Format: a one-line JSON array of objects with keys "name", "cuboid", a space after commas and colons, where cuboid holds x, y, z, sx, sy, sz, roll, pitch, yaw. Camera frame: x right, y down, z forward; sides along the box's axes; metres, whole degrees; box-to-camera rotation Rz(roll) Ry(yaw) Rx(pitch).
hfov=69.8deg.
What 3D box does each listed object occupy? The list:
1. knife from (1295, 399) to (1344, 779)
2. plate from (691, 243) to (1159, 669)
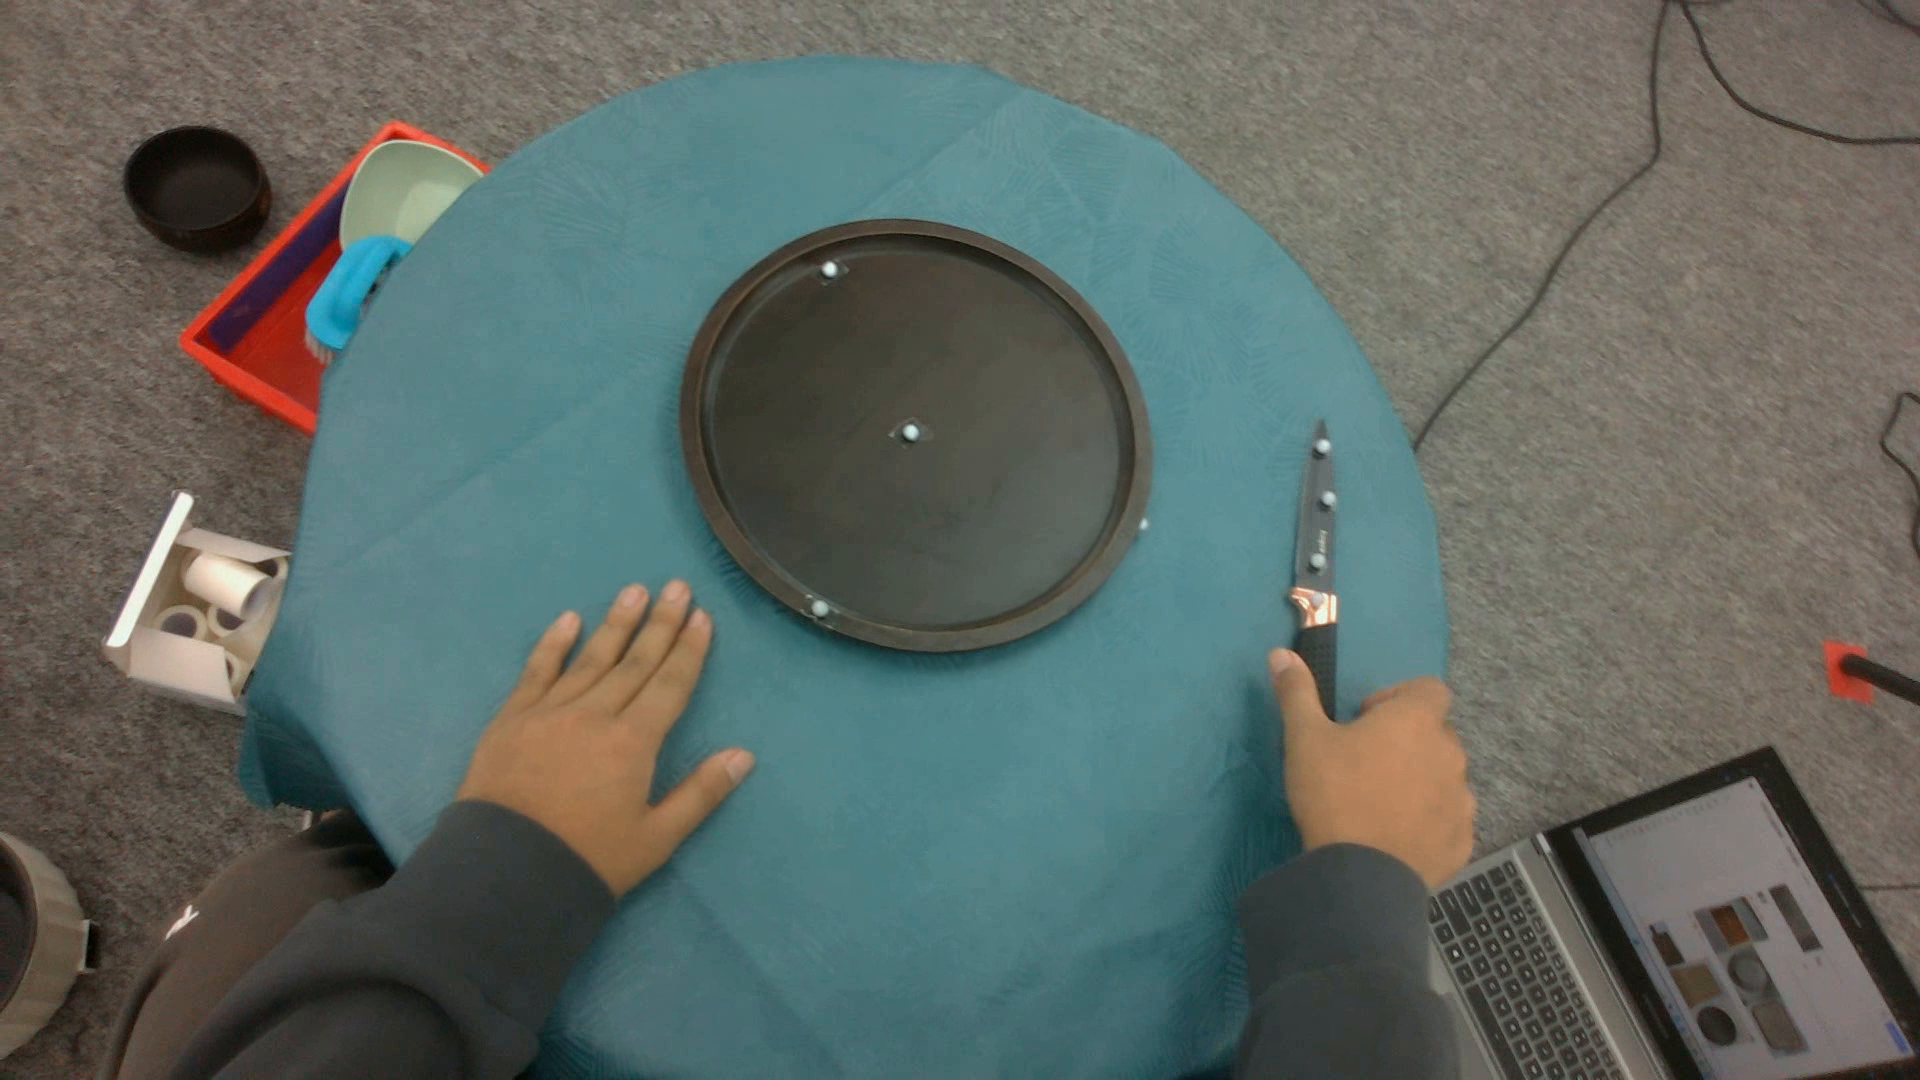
[{"name": "knife", "cuboid": [0.198, 0.021, 0.758, 0.026, 0.017, 0.226, 7, 65, 0]}, {"name": "plate", "cuboid": [-0.017, -0.050, 0.744, 0.255, 0.029, 0.255, 4, 68, -9]}]
